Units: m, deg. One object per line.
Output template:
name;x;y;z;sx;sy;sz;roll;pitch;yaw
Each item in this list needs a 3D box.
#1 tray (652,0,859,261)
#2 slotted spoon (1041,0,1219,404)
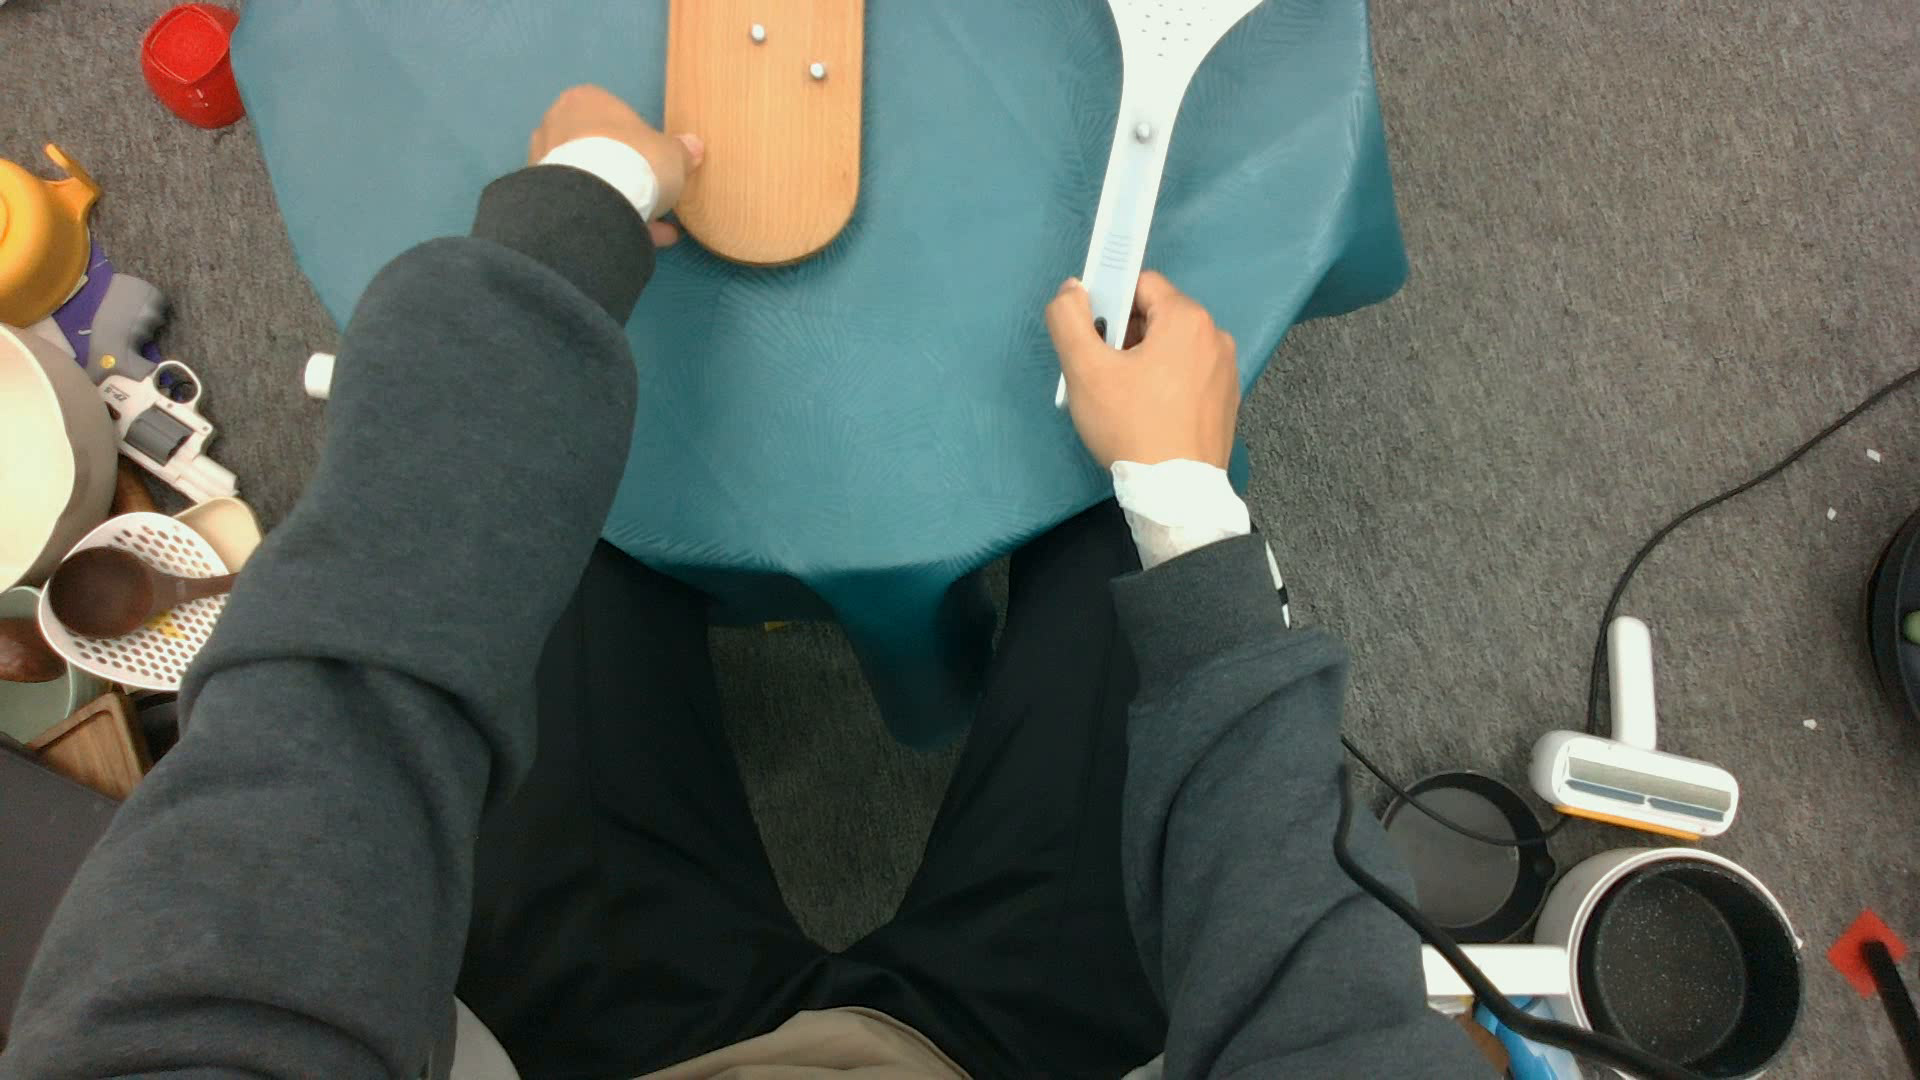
tray;-0.105;-0.256;0.724;0.102;0.020;0.231;2;80;-3
slotted spoon;0.089;-0.237;0.690;0.136;0.045;0.350;12;78;3
